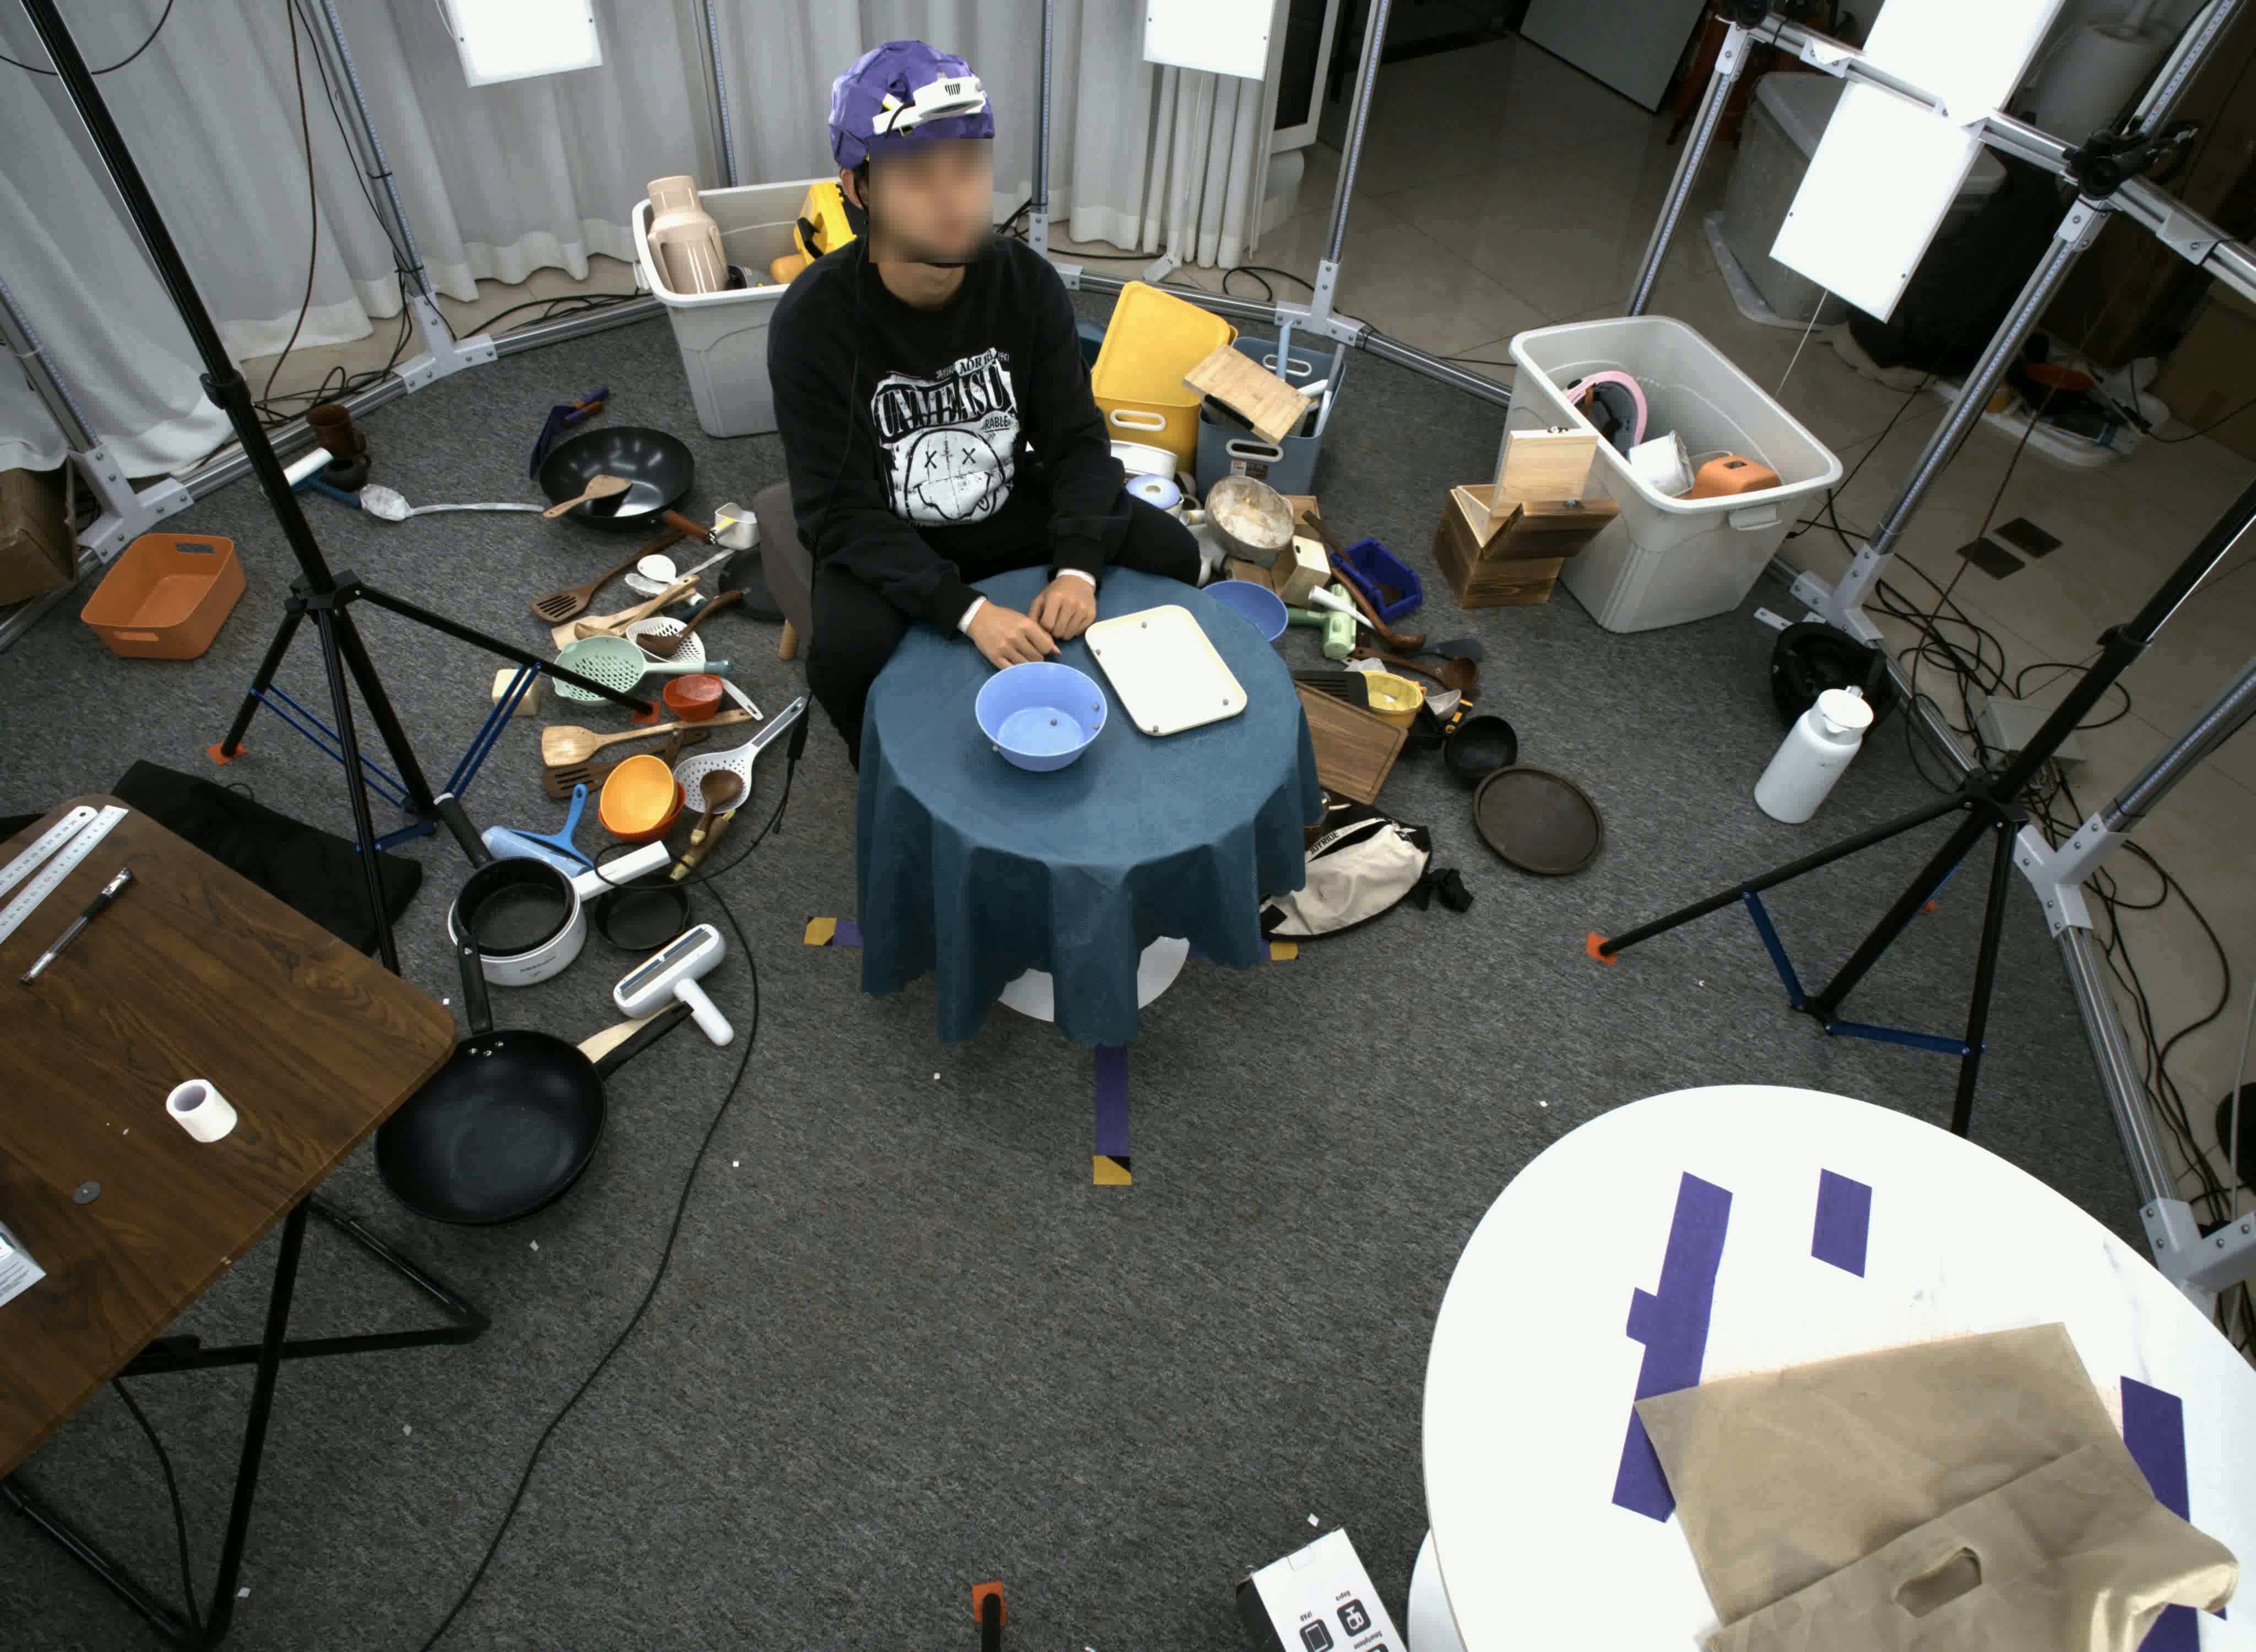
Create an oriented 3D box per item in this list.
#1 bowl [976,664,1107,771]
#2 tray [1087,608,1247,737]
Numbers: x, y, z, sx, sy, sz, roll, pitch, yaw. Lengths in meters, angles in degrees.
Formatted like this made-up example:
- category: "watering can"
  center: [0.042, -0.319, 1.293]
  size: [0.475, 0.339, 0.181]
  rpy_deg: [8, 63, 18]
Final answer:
- category: "bowl"
  center: [-0.118, -0.139, 1.751]
  size: [0.176, 0.068, 0.180]
  rpy_deg: [2, 49, -3]
- category: "tray"
  center: [0.054, -0.225, 1.873]
  size: [0.171, 0.017, 0.245]
  rpy_deg: [-16, 52, -18]
